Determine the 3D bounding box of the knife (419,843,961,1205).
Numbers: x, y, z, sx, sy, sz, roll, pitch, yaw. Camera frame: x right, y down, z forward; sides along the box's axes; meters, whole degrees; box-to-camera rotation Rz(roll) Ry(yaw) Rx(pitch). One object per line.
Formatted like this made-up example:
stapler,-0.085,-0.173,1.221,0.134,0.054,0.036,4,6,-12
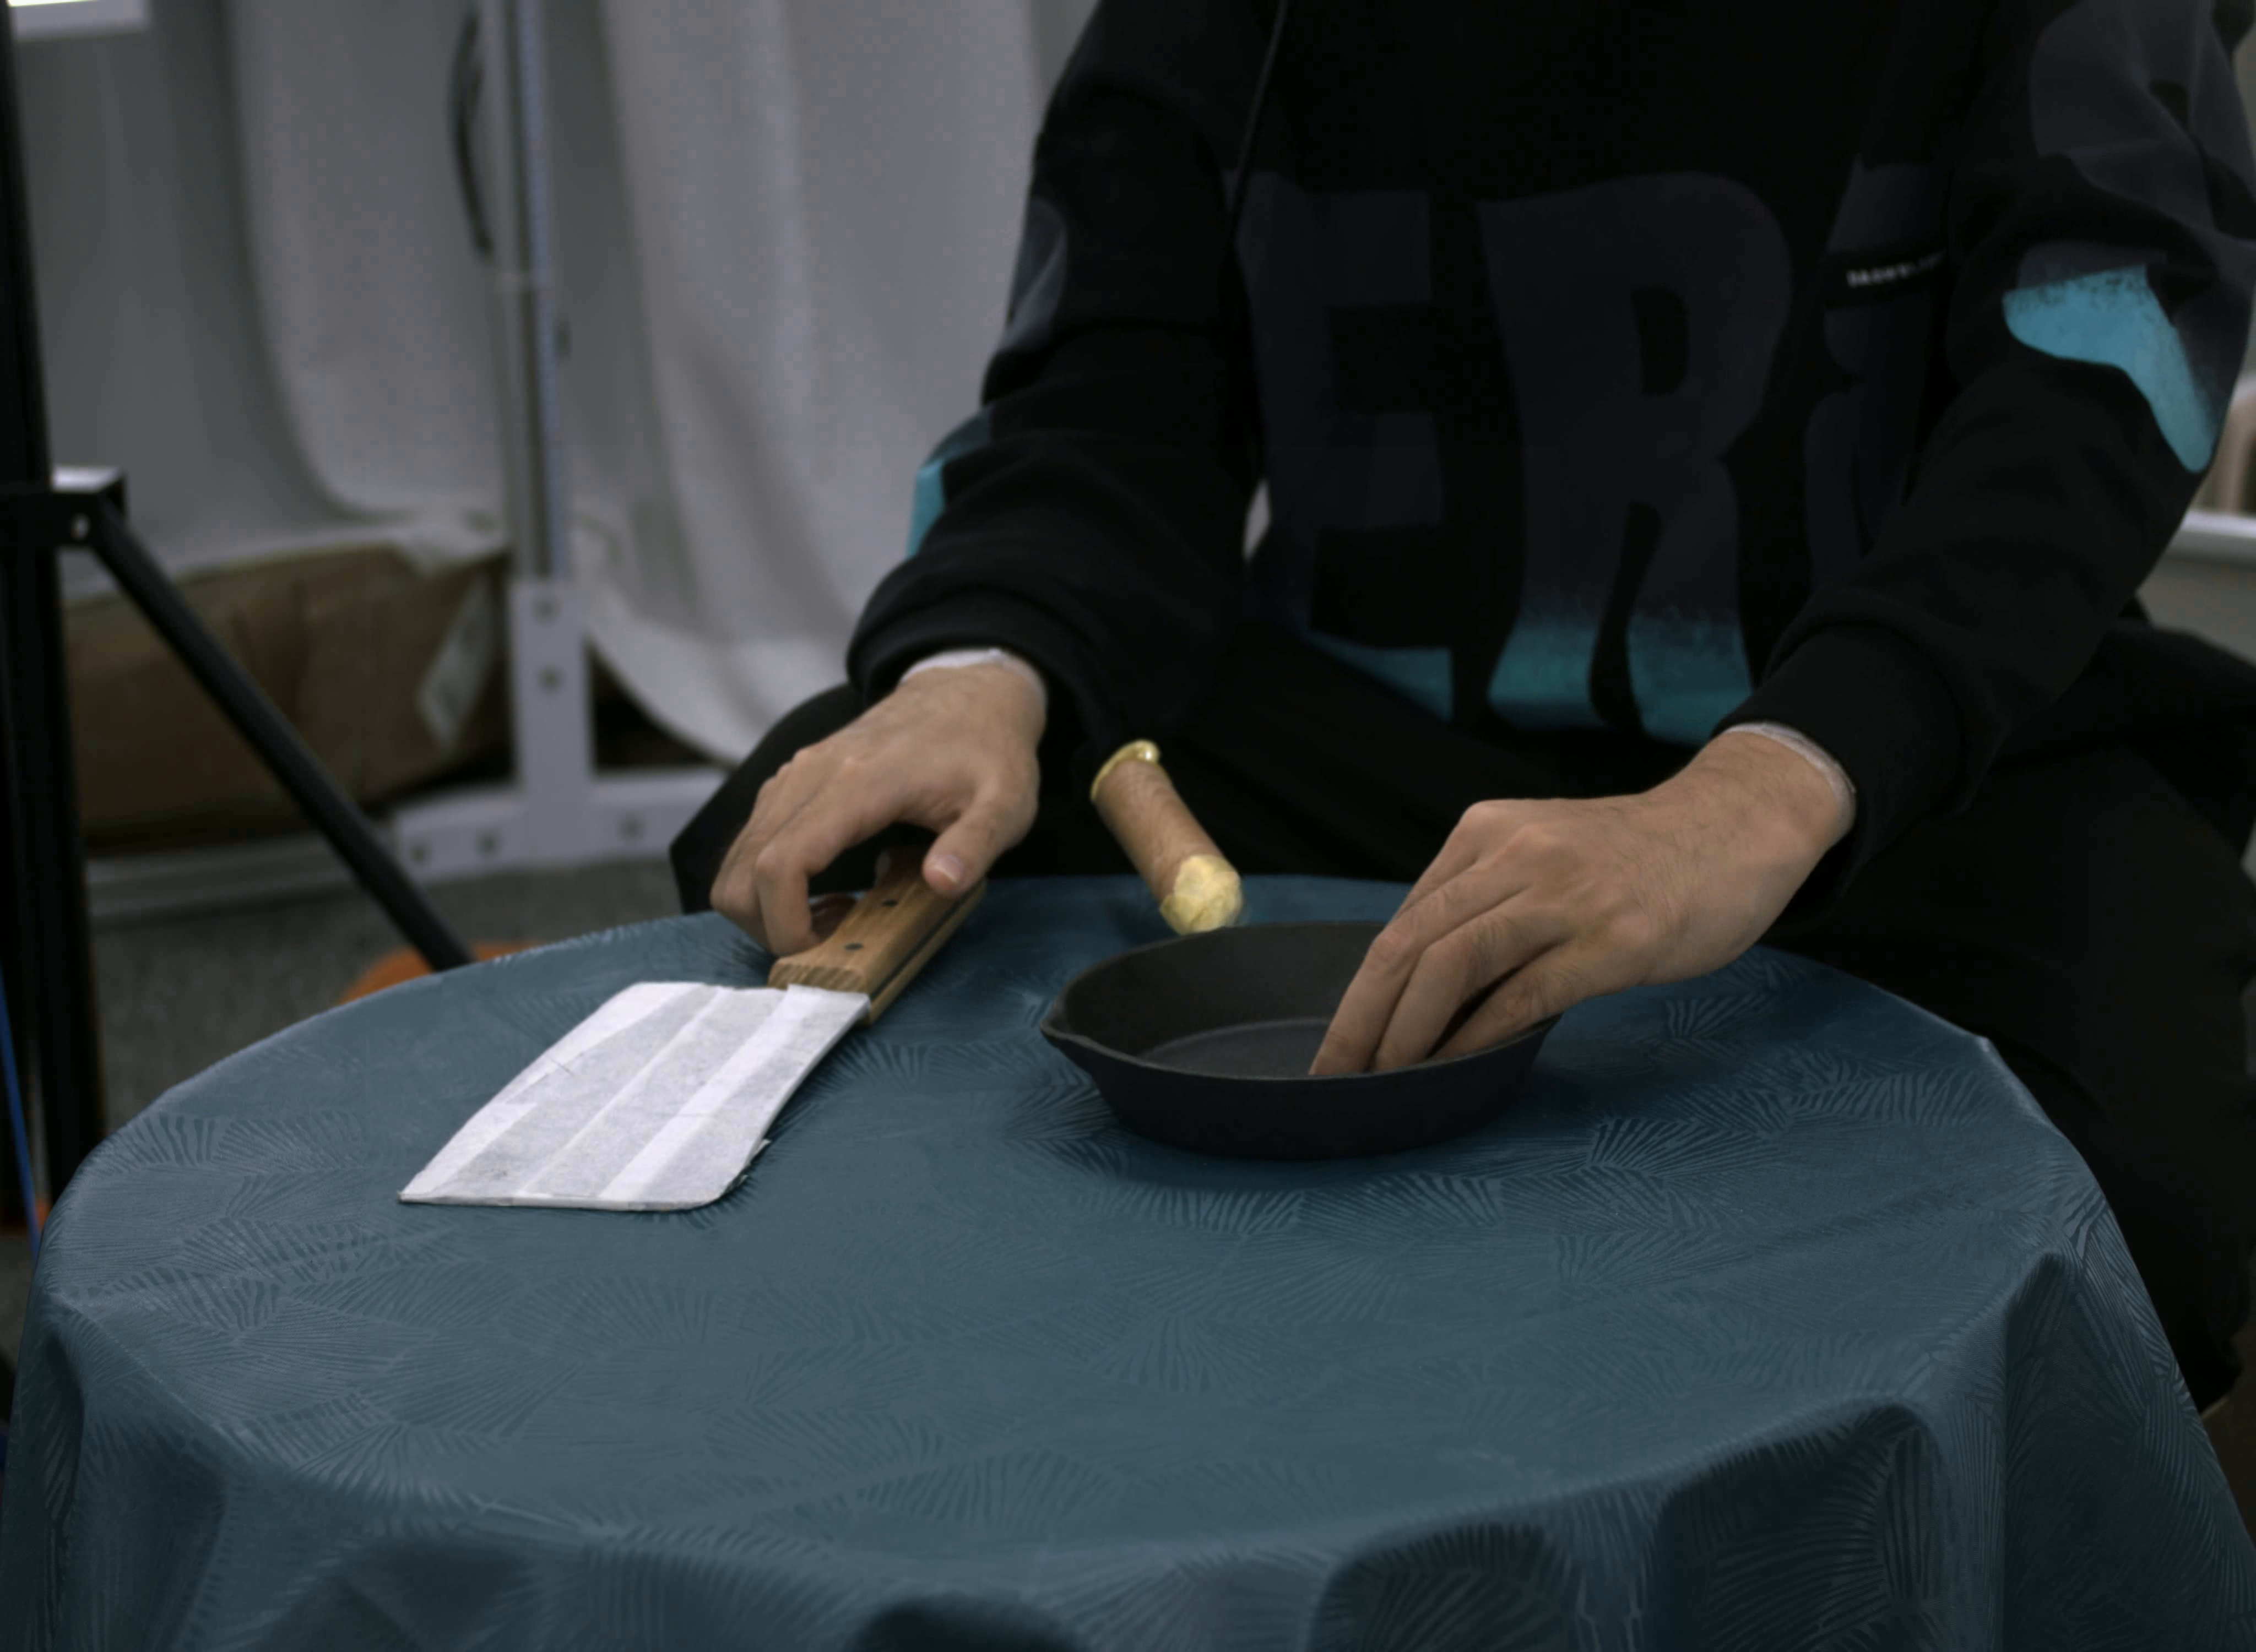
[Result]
knife,-0.122,0.064,1.702,0.115,0.022,0.312,3,19,21

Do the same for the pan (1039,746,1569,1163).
pan,0.035,0.038,1.708,0.166,0.049,0.329,-7,17,-12
